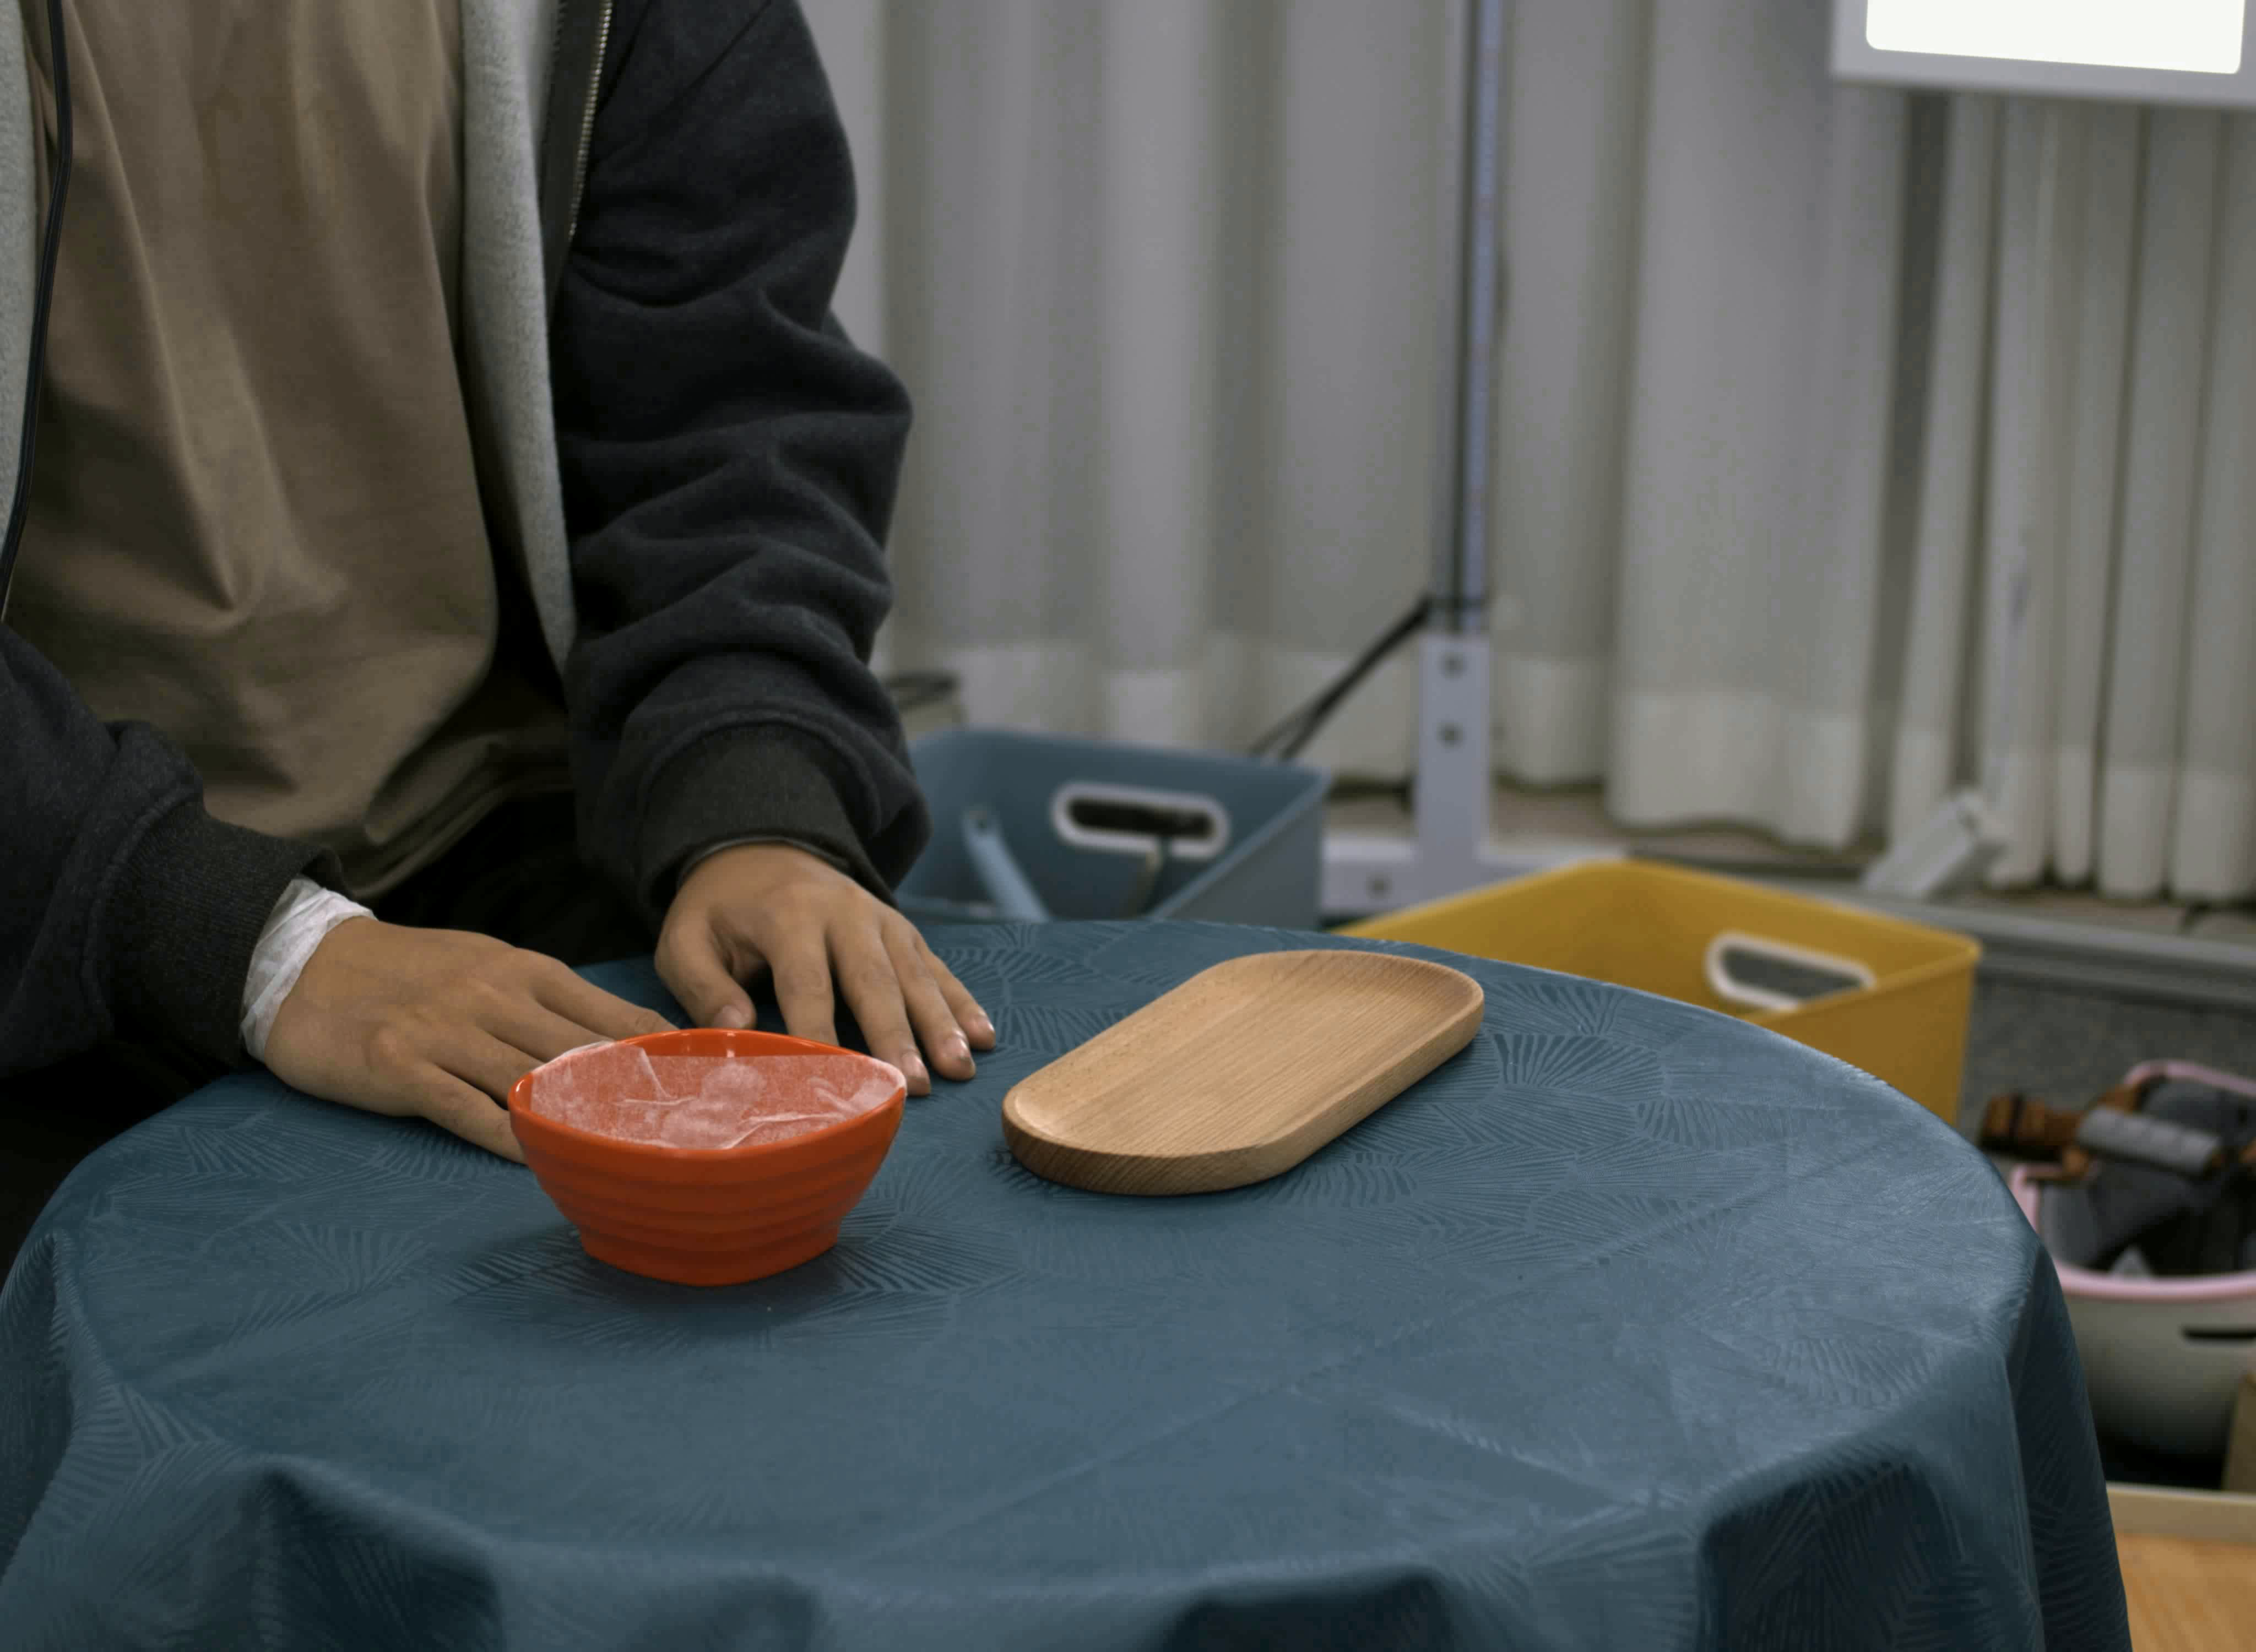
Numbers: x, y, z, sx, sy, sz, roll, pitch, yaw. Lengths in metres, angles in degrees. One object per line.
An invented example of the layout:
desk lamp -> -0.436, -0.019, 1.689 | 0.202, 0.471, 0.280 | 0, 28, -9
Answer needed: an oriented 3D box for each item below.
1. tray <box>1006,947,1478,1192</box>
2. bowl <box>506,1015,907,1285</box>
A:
tray -> 0.040, 0.077, 1.719 | 0.100, 0.020, 0.232 | 8, 16, 24
bowl -> -0.125, 0.098, 1.565 | 0.118, 0.052, 0.118 | 2, 18, 0
